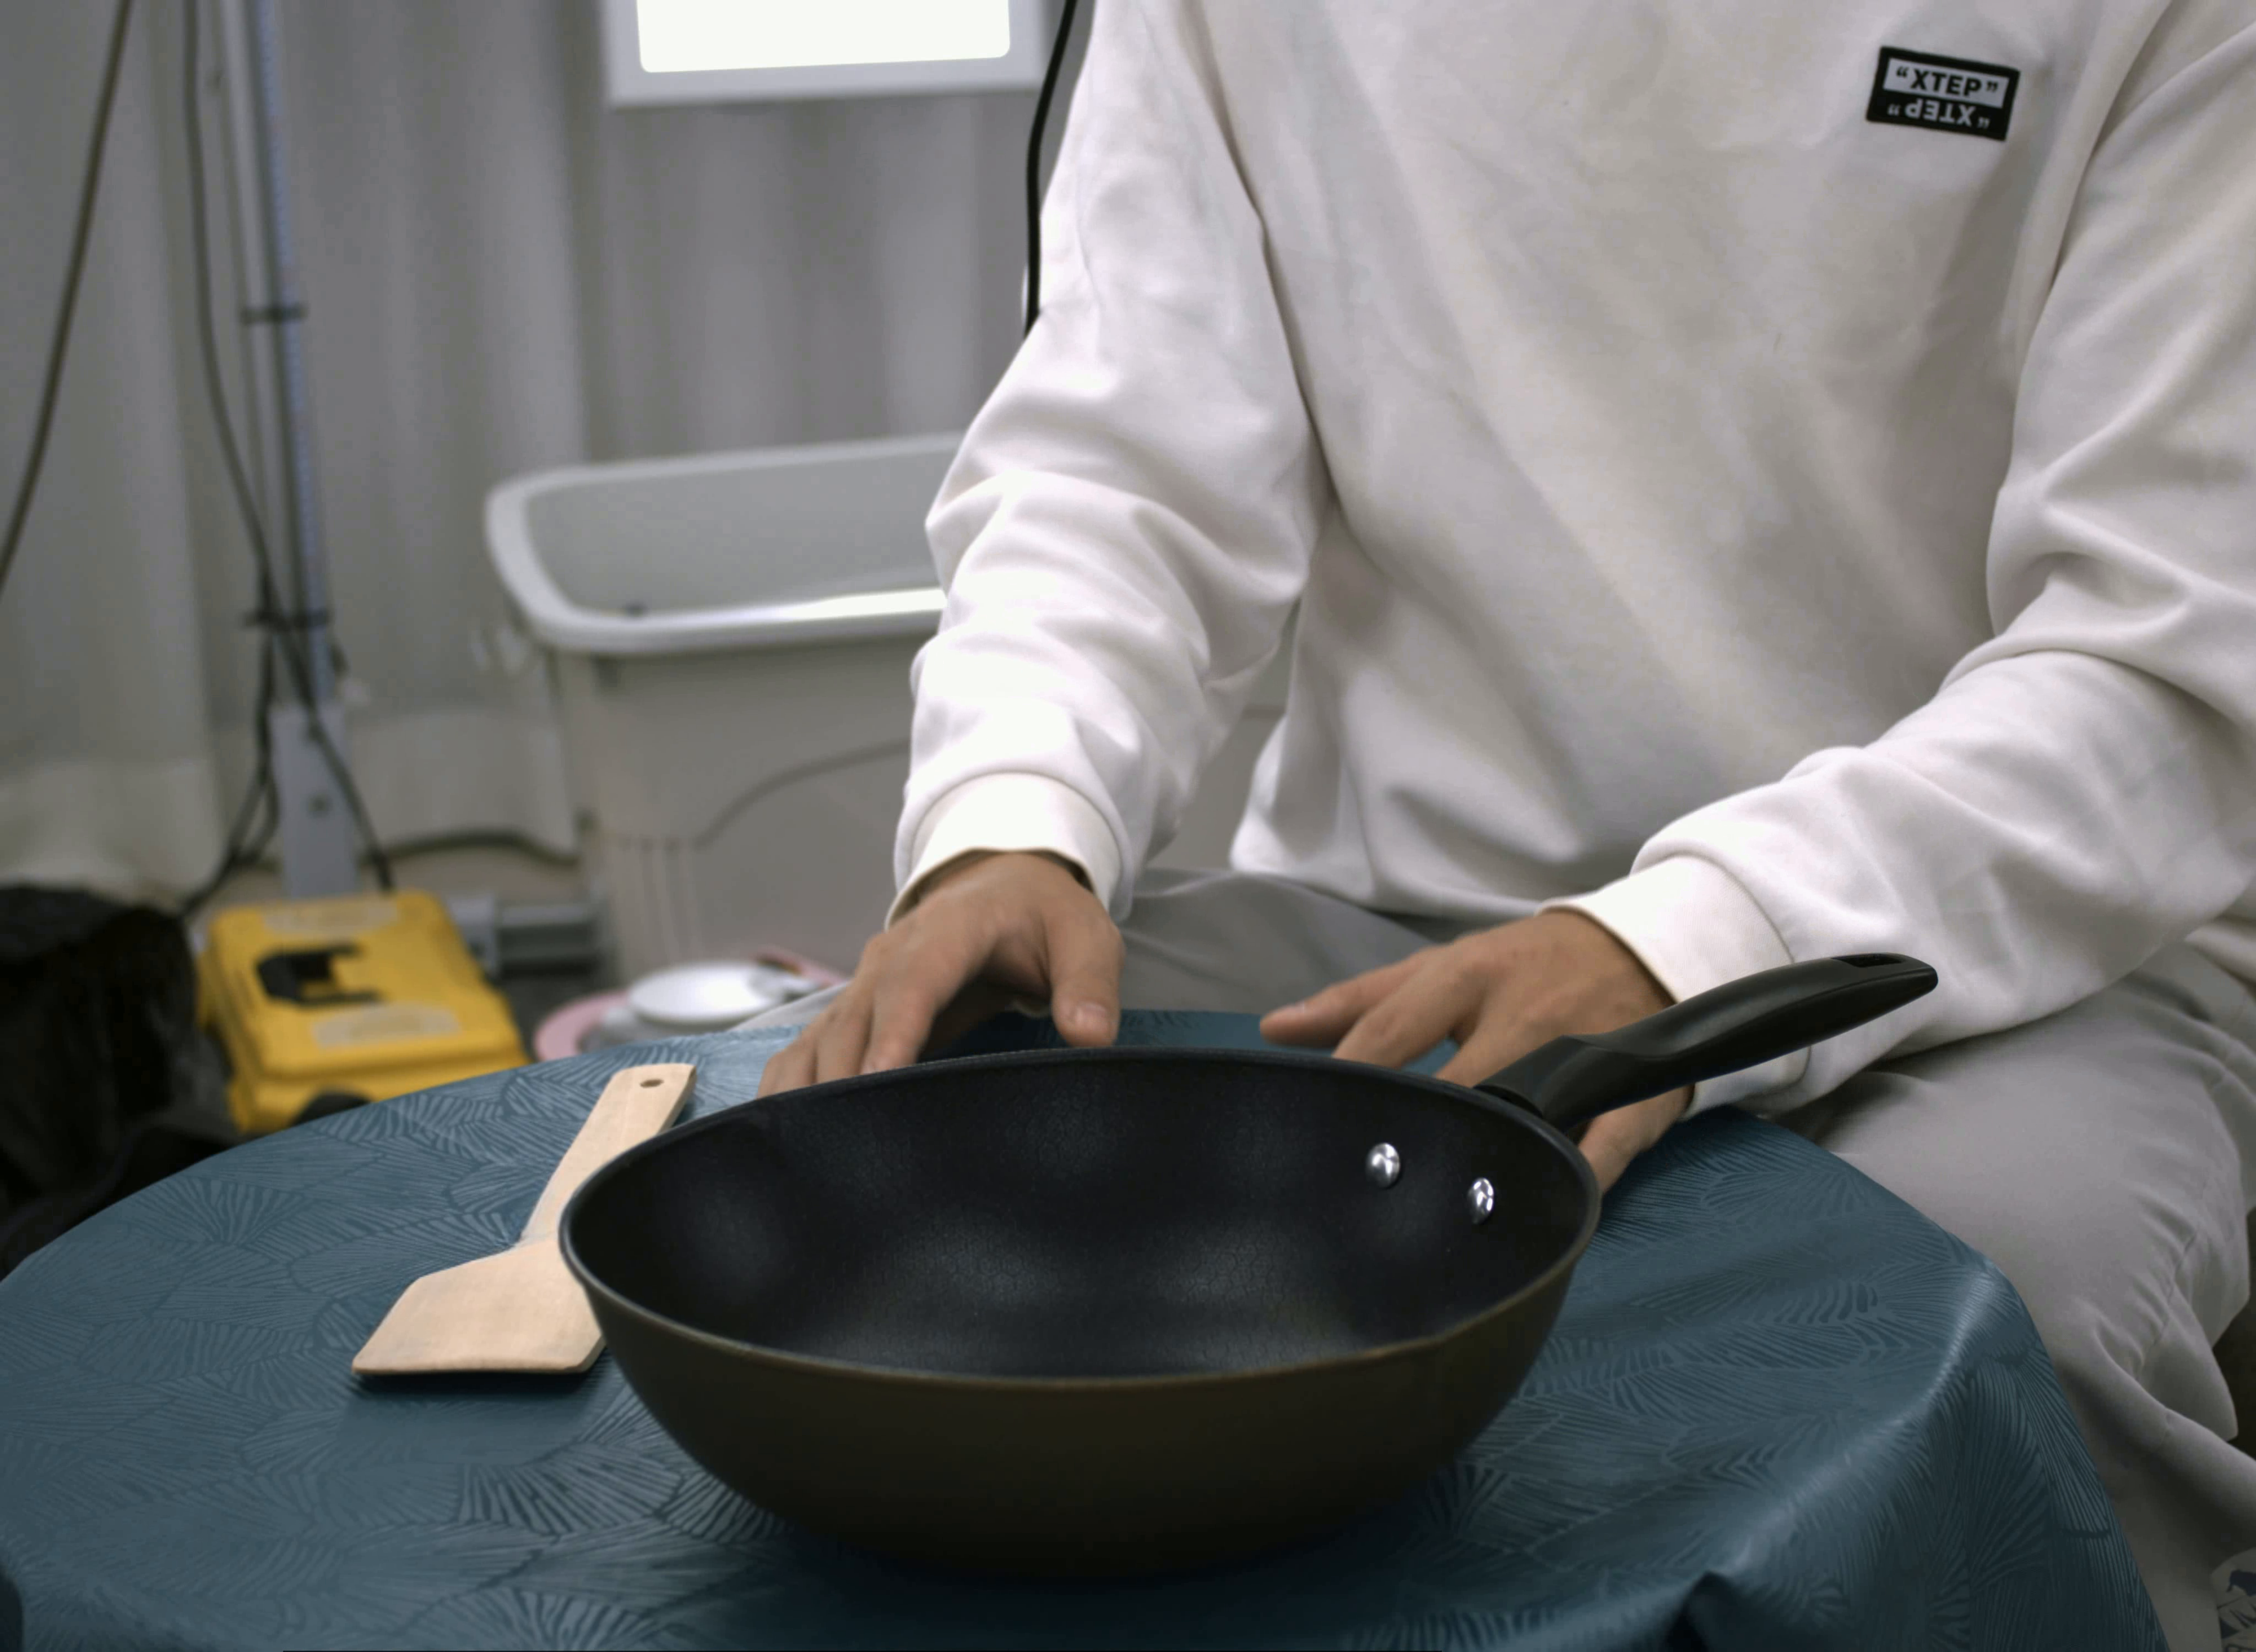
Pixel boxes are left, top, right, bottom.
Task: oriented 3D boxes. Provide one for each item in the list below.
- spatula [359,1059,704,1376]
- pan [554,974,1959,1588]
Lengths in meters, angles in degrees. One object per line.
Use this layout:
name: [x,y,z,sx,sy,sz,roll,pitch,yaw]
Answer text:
spatula: [-0.173,0.121,1.710,0.072,0.010,0.295,-2,15,7]
pan: [0.058,0.121,1.527,0.462,0.086,0.290,-13,18,-37]
